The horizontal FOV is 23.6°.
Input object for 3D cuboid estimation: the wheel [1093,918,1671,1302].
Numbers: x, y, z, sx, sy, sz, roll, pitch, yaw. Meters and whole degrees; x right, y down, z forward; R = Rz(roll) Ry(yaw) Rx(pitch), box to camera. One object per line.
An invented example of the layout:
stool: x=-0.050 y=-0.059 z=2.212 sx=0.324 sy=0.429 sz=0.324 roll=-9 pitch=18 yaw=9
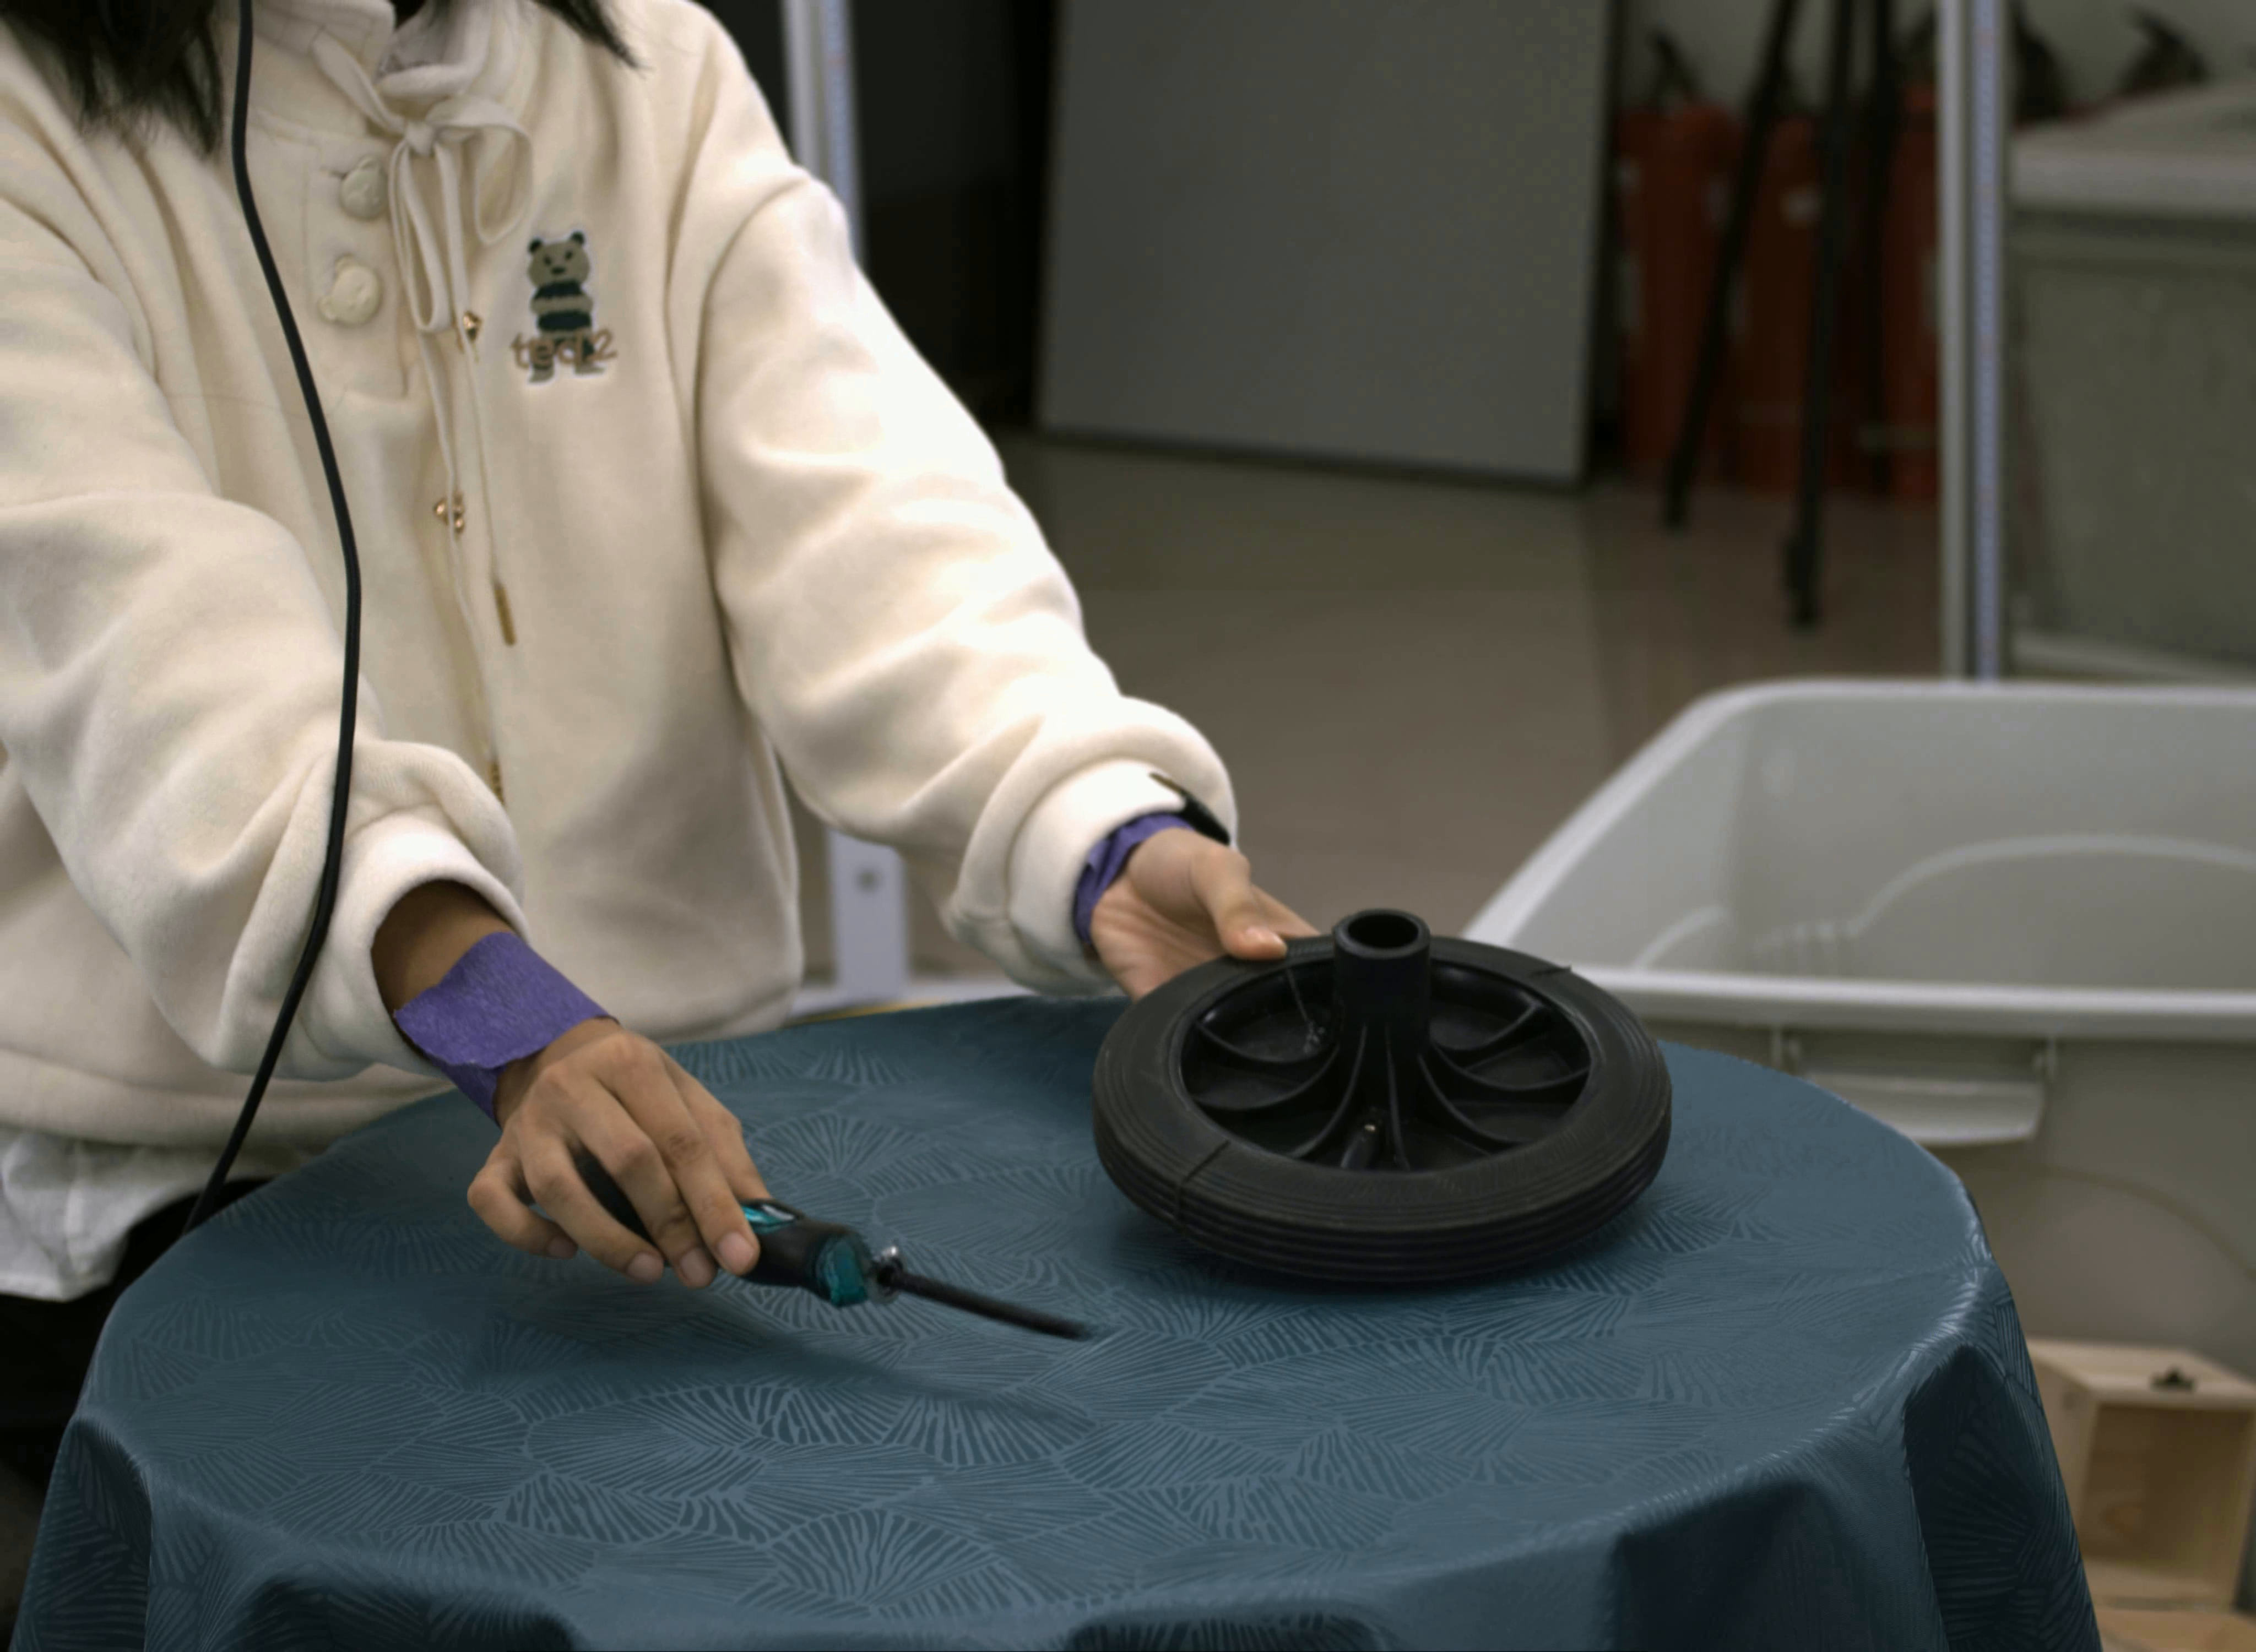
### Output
wheel: x=0.081 y=0.072 z=1.718 sx=0.184 sy=0.080 sz=0.191 roll=-6 pitch=31 yaw=-6

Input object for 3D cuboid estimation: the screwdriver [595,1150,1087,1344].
screwdriver: x=-0.086 y=0.131 z=1.627 sx=0.191 sy=0.034 sz=0.033 roll=14 pitch=21 yaw=37
